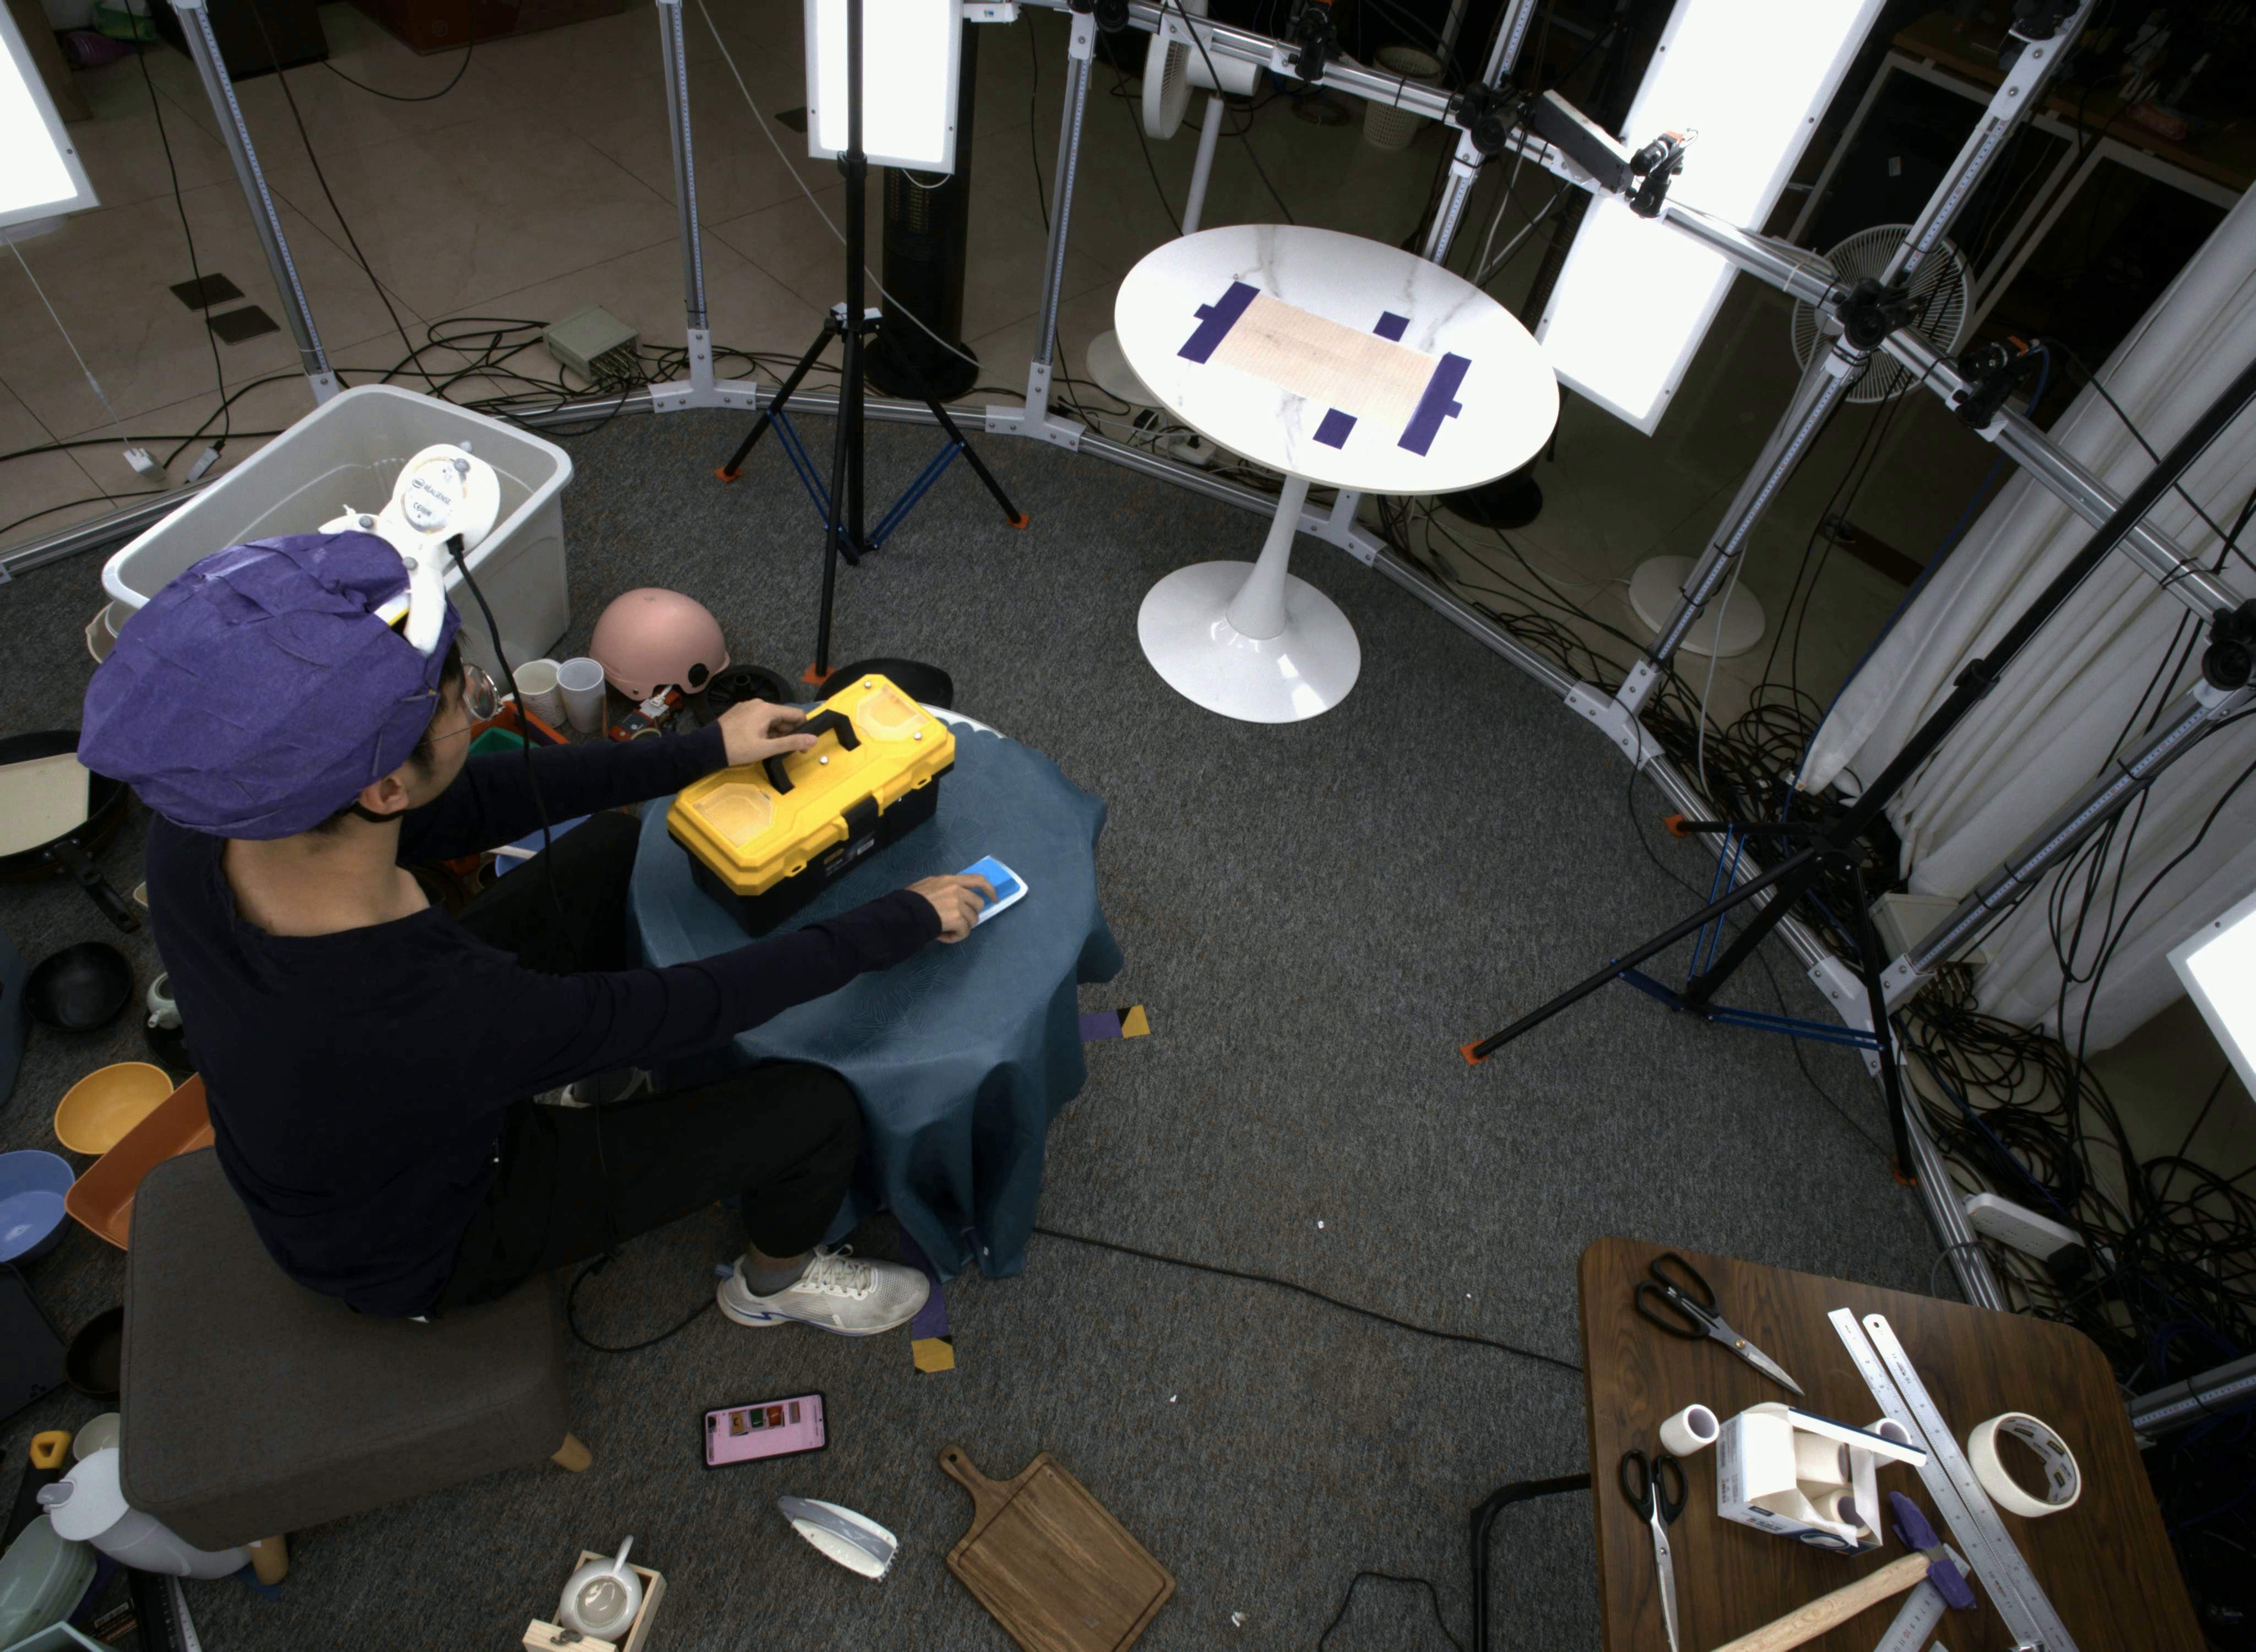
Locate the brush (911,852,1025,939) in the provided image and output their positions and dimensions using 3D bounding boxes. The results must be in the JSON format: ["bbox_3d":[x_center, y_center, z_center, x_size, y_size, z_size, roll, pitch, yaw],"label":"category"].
[{"bbox_3d":[-0.206,0.081,1.680,0.144,0.057,0.081,-29,61,-32],"label":"brush"}]

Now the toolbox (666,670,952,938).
[{"bbox_3d":[-0.394,-0.028,1.641,0.177,0.176,0.352,38,54,17],"label":"toolbox"}]
